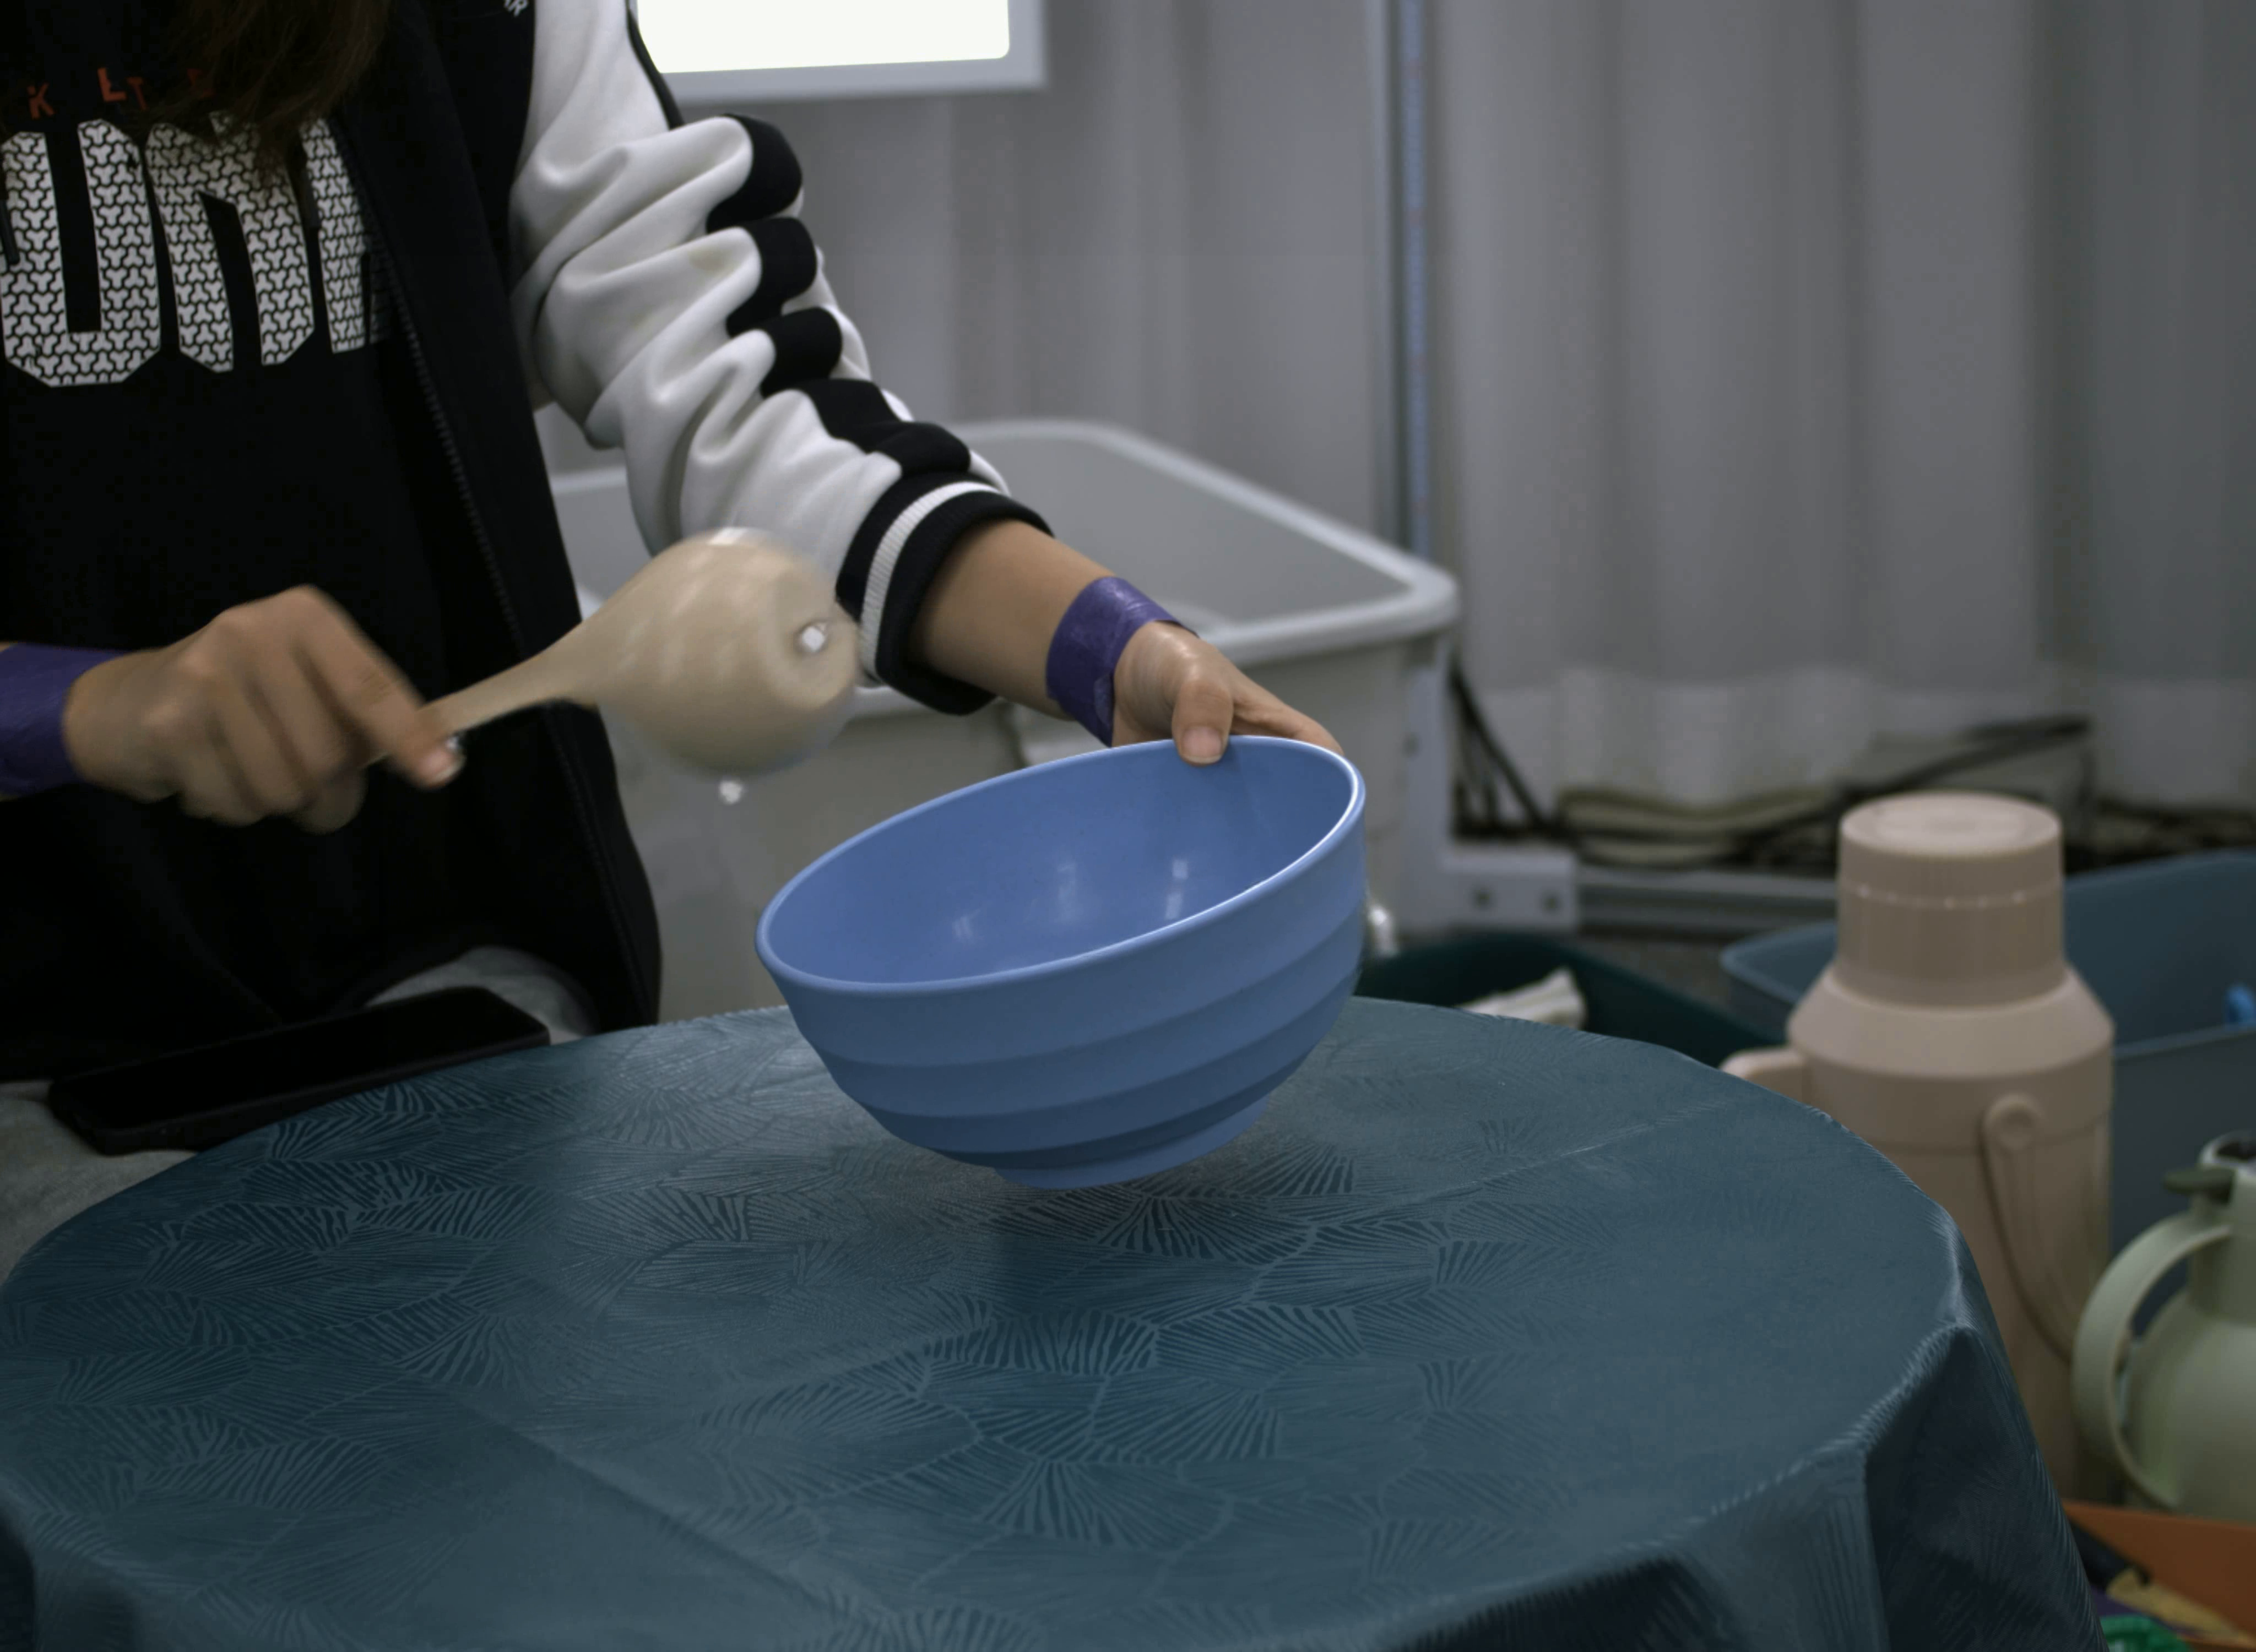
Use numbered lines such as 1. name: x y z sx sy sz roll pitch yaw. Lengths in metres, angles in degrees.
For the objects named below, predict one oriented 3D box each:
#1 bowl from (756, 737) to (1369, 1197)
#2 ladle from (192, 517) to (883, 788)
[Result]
1. bowl: -0.010 0.054 1.712 0.196 0.095 0.198 -13 19 4
2. ladle: -0.177 -0.036 1.651 0.254 0.073 0.072 -14 -18 43
